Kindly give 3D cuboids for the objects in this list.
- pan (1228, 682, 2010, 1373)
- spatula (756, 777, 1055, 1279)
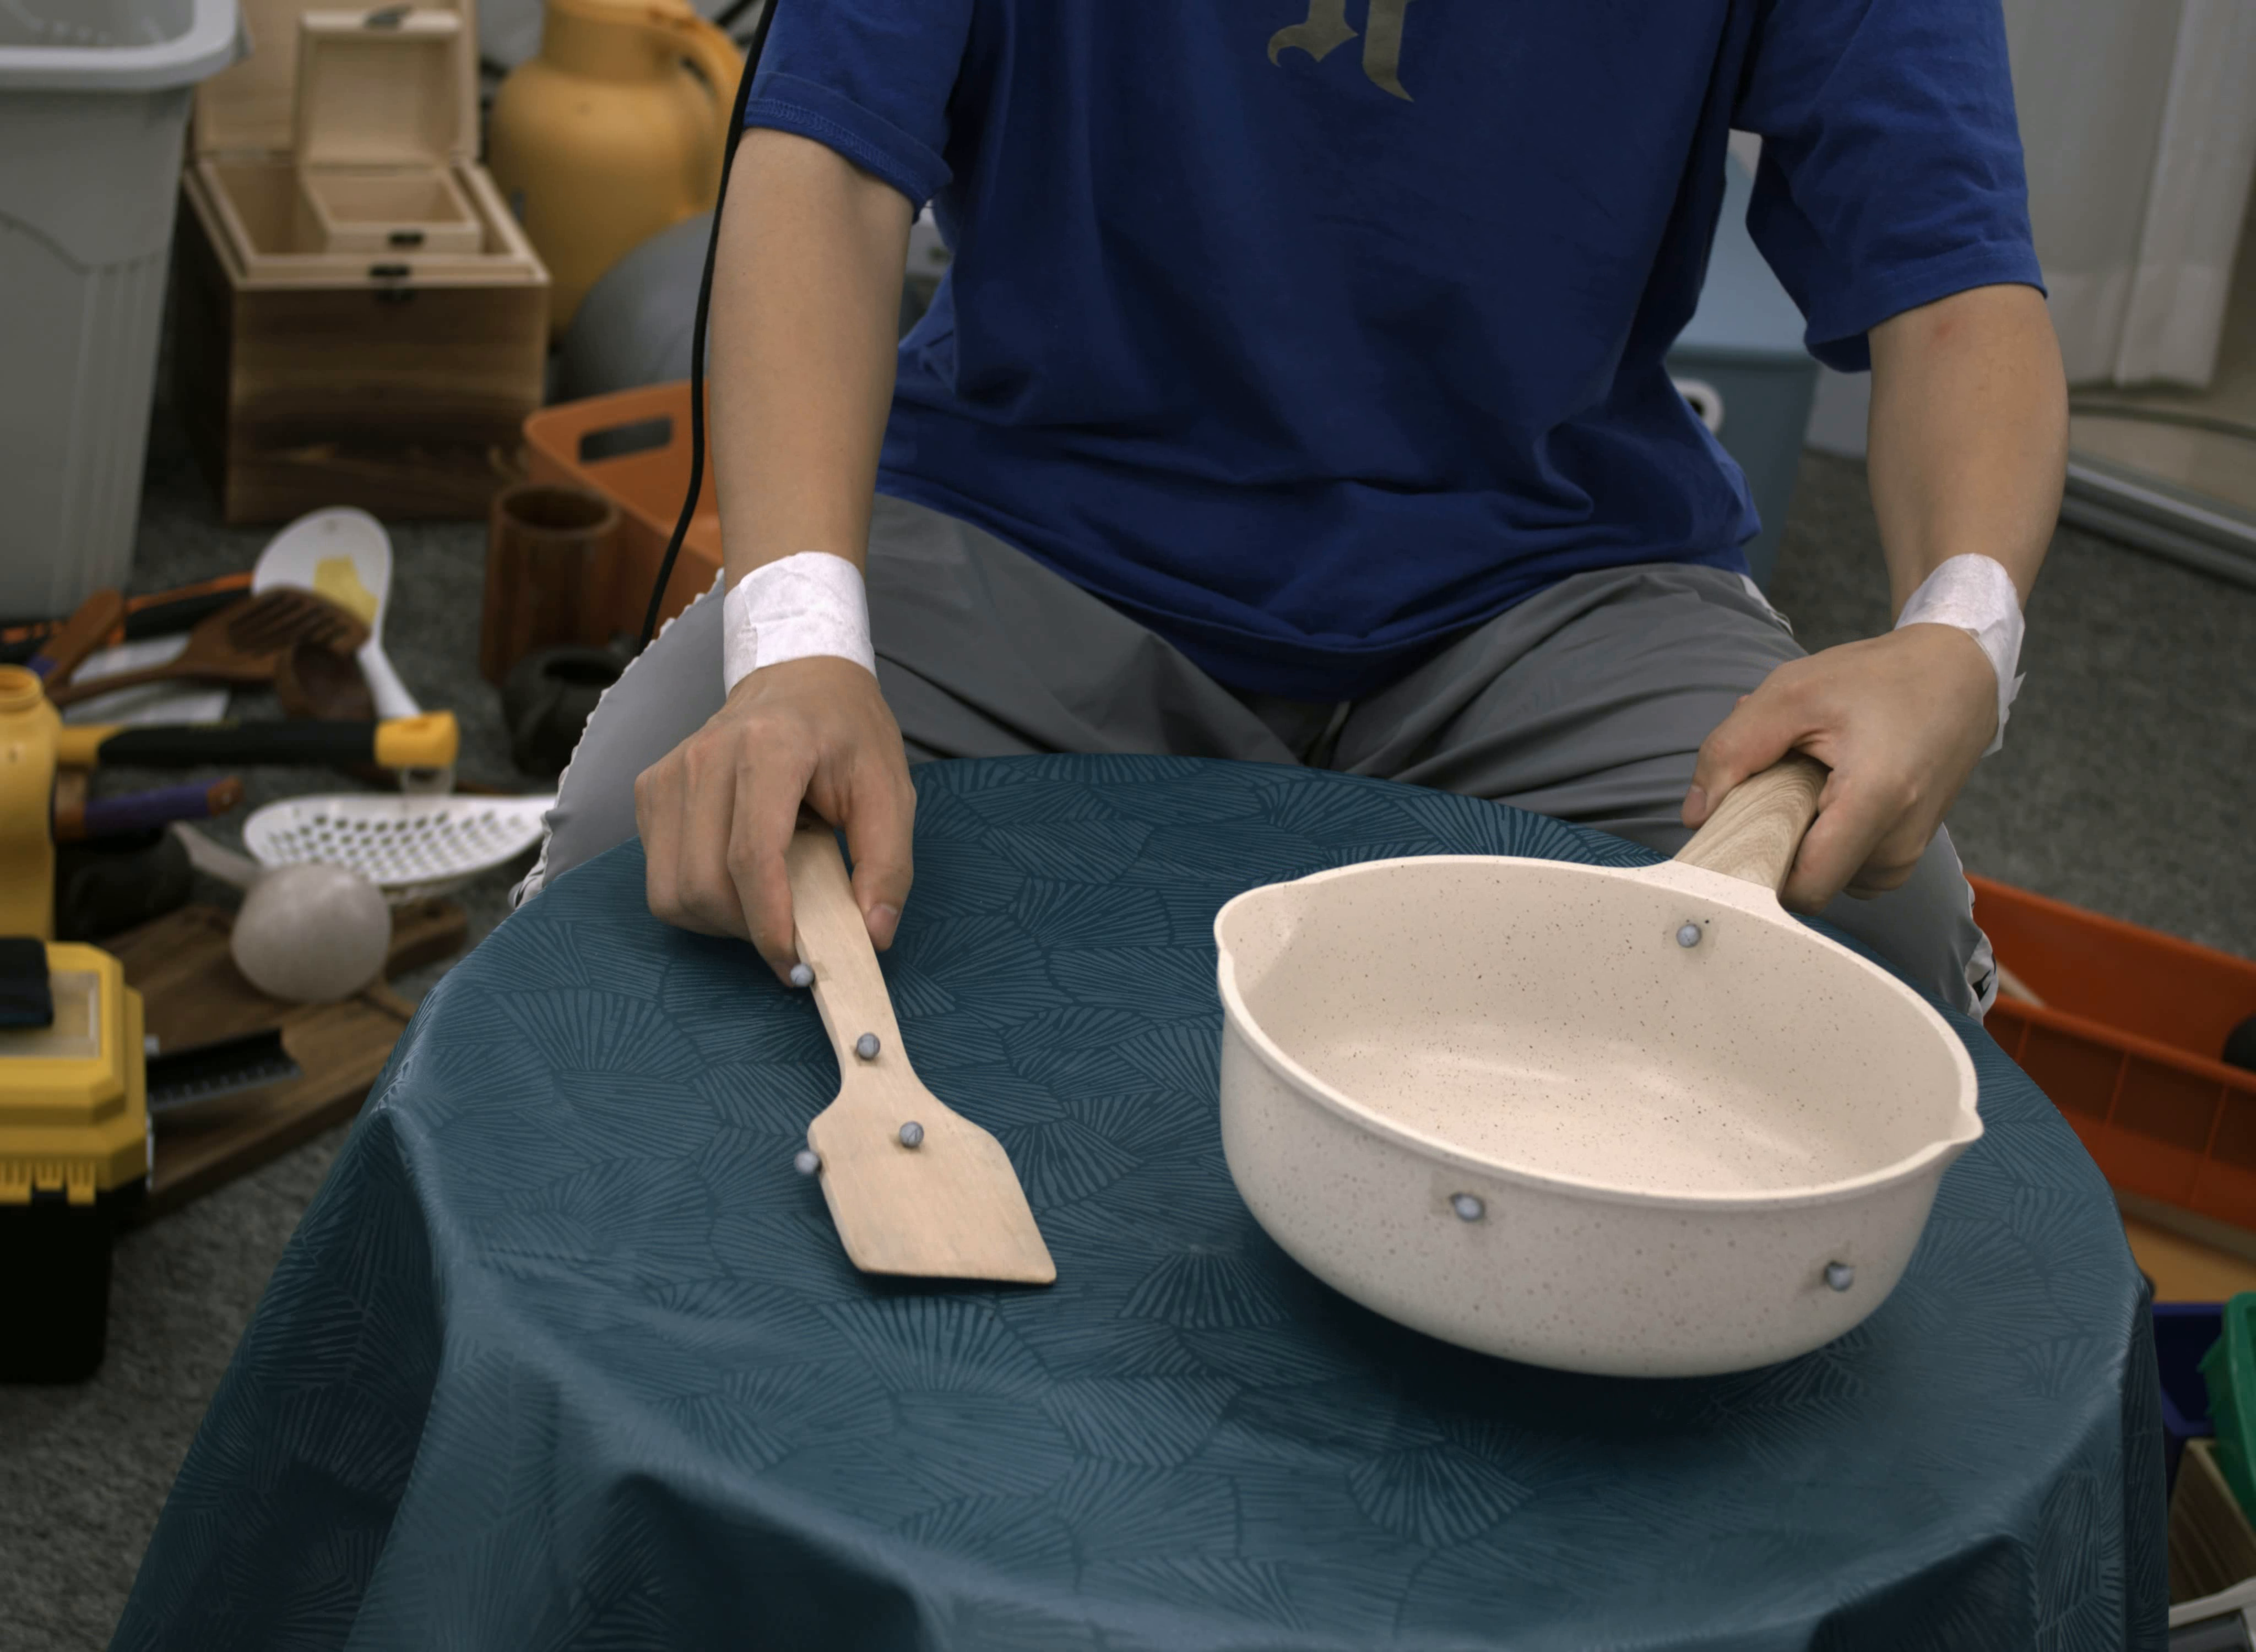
[{"bbox_3d":[0.187,0.062,1.824,0.264,0.102,0.434,14,23,17],"label":"pan"},{"bbox_3d":[-0.092,0.065,1.851,0.072,0.010,0.296,6,32,-21],"label":"spatula"}]
